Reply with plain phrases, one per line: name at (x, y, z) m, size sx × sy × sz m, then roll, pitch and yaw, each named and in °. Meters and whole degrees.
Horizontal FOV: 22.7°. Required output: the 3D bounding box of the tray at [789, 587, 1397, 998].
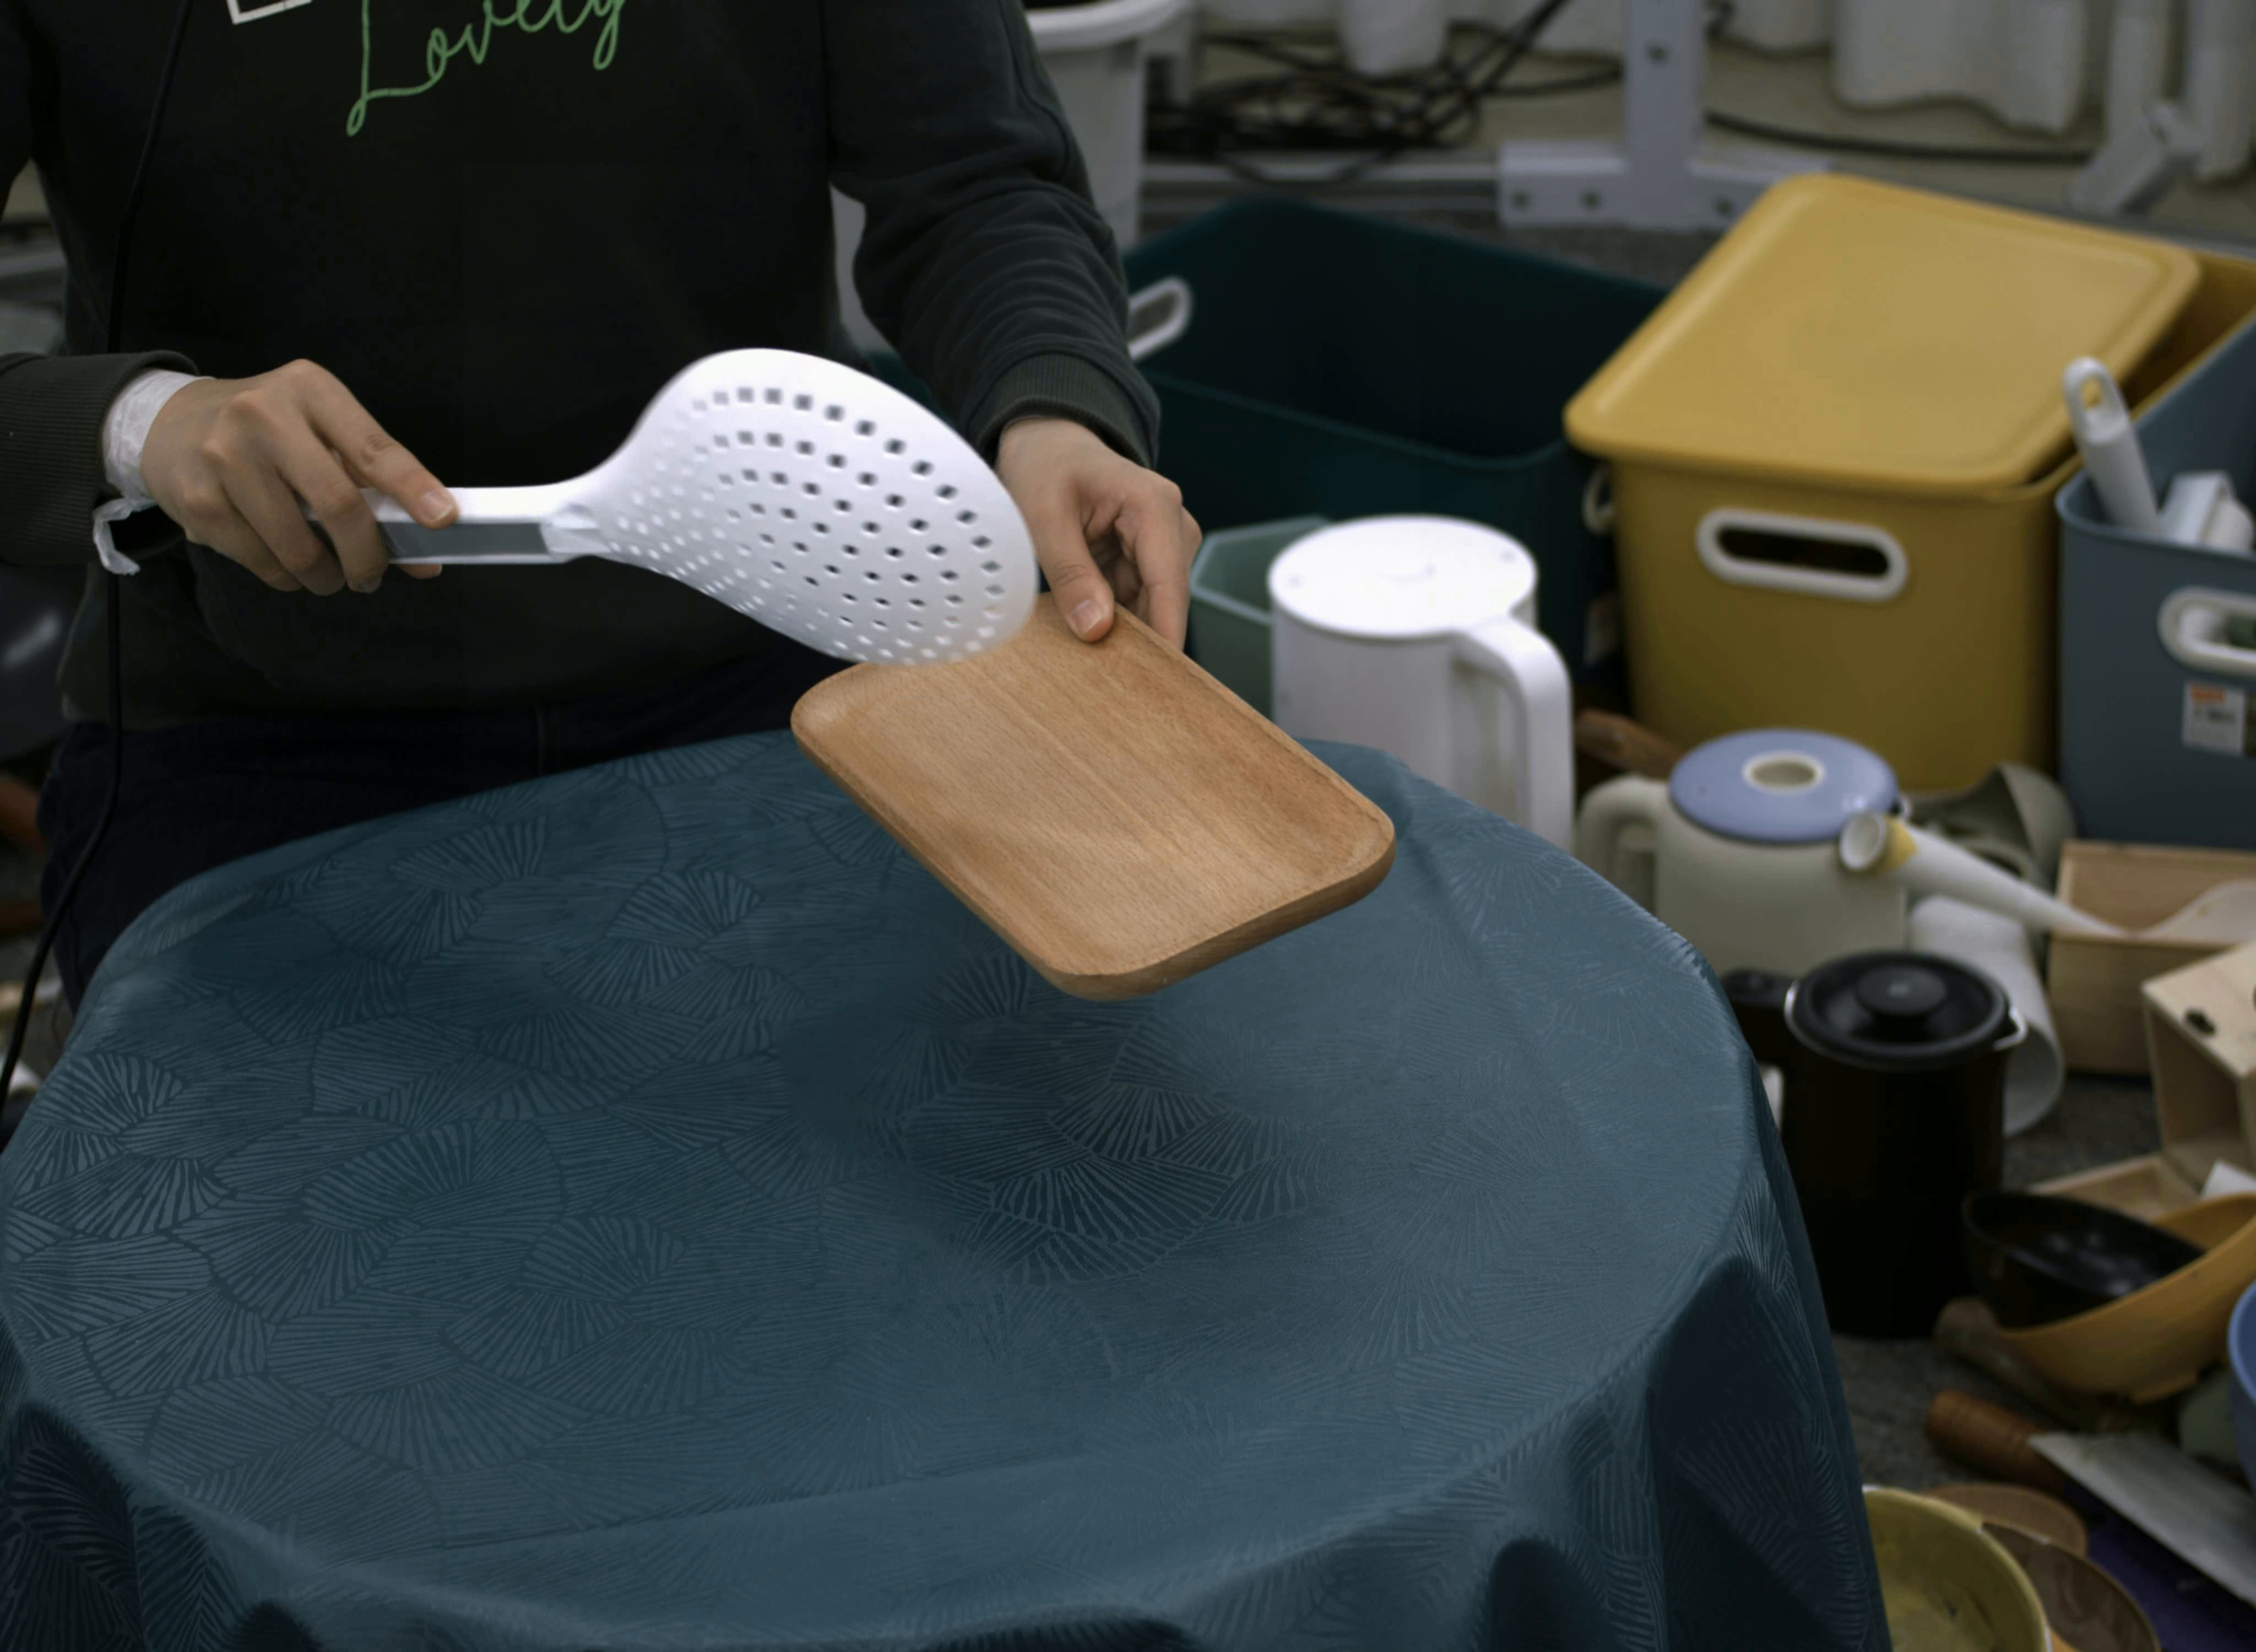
tray at (-0.015, -0.014, 1.878) m, size 0.131 × 0.022 × 0.252 m, roll -21°, pitch 30°, yaw -19°

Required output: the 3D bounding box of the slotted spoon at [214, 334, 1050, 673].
slotted spoon at (-0.175, -0.101, 1.879) m, size 0.347 × 0.135 × 0.046 m, roll 5°, pitch 43°, yaw 39°
